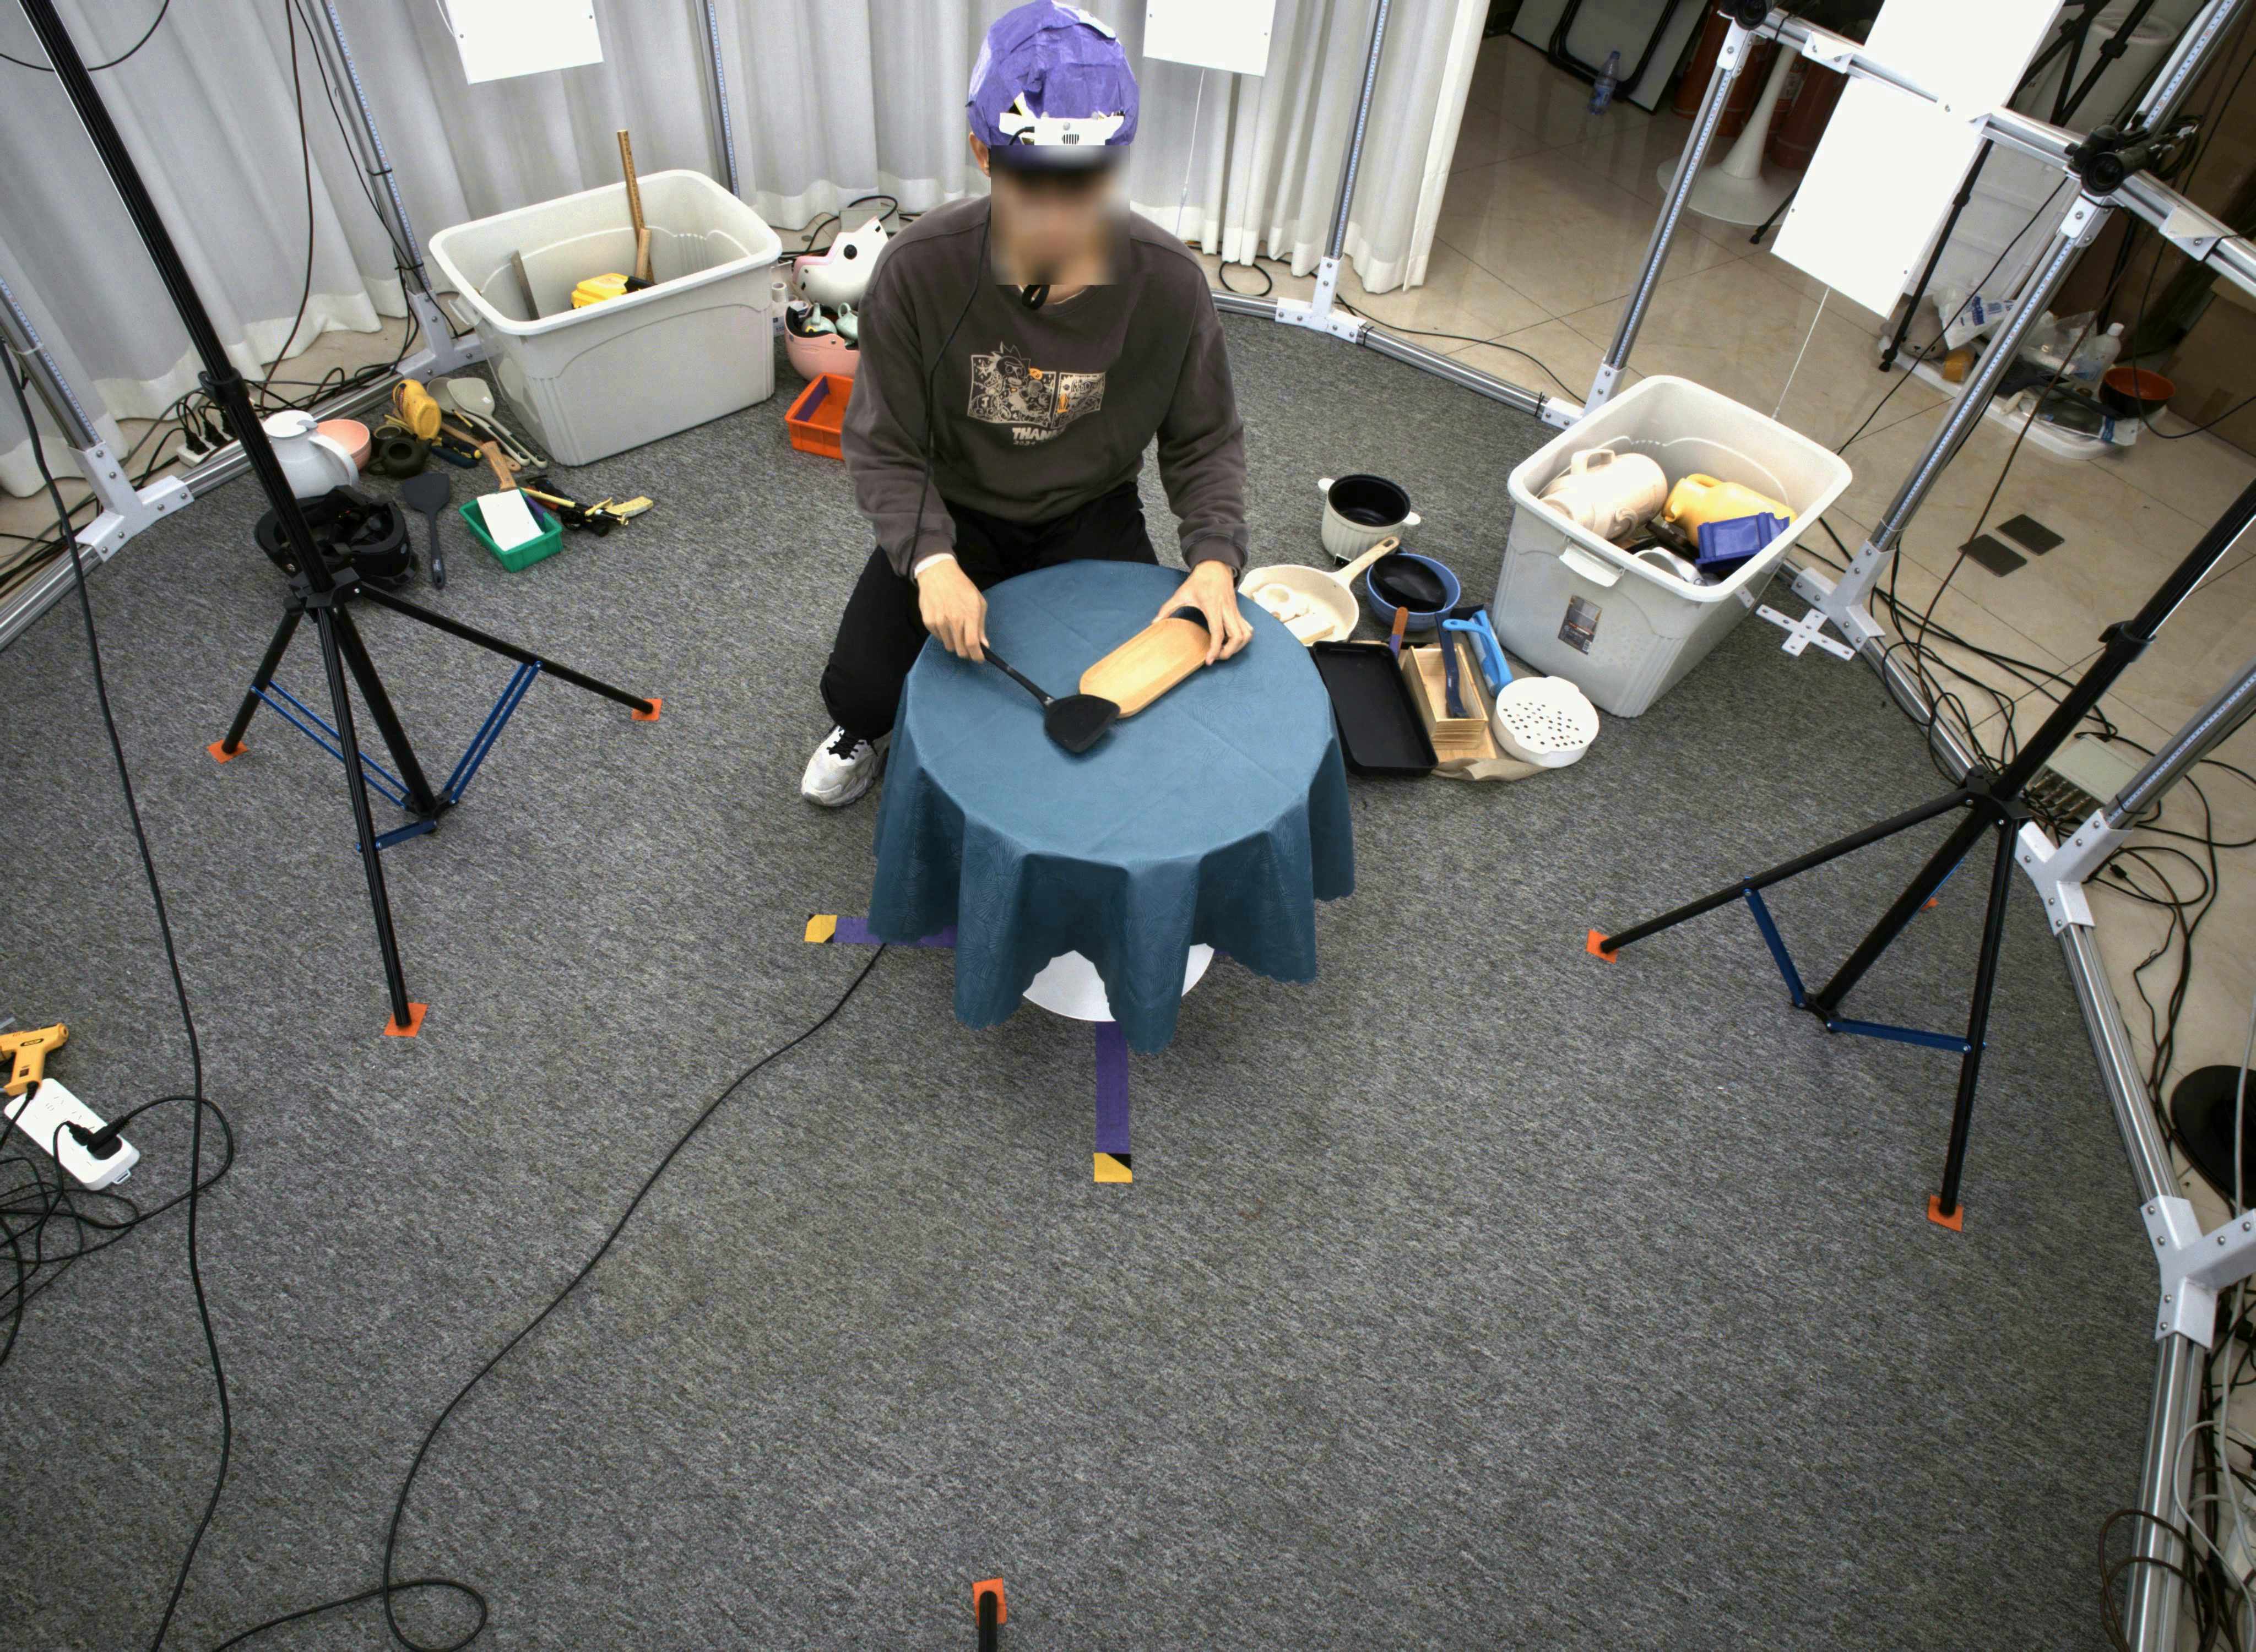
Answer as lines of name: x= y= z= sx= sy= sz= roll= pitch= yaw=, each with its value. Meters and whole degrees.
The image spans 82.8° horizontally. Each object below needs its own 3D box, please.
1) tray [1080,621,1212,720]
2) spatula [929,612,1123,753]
tray: x=0.027 y=-0.226 z=1.851 sx=0.103 sy=0.020 sz=0.233 roll=37 pitch=59 yaw=25
spatula: x=-0.157 y=-0.215 z=1.801 sx=0.329 sy=0.039 sz=0.101 roll=38 pitch=65 yaw=15
